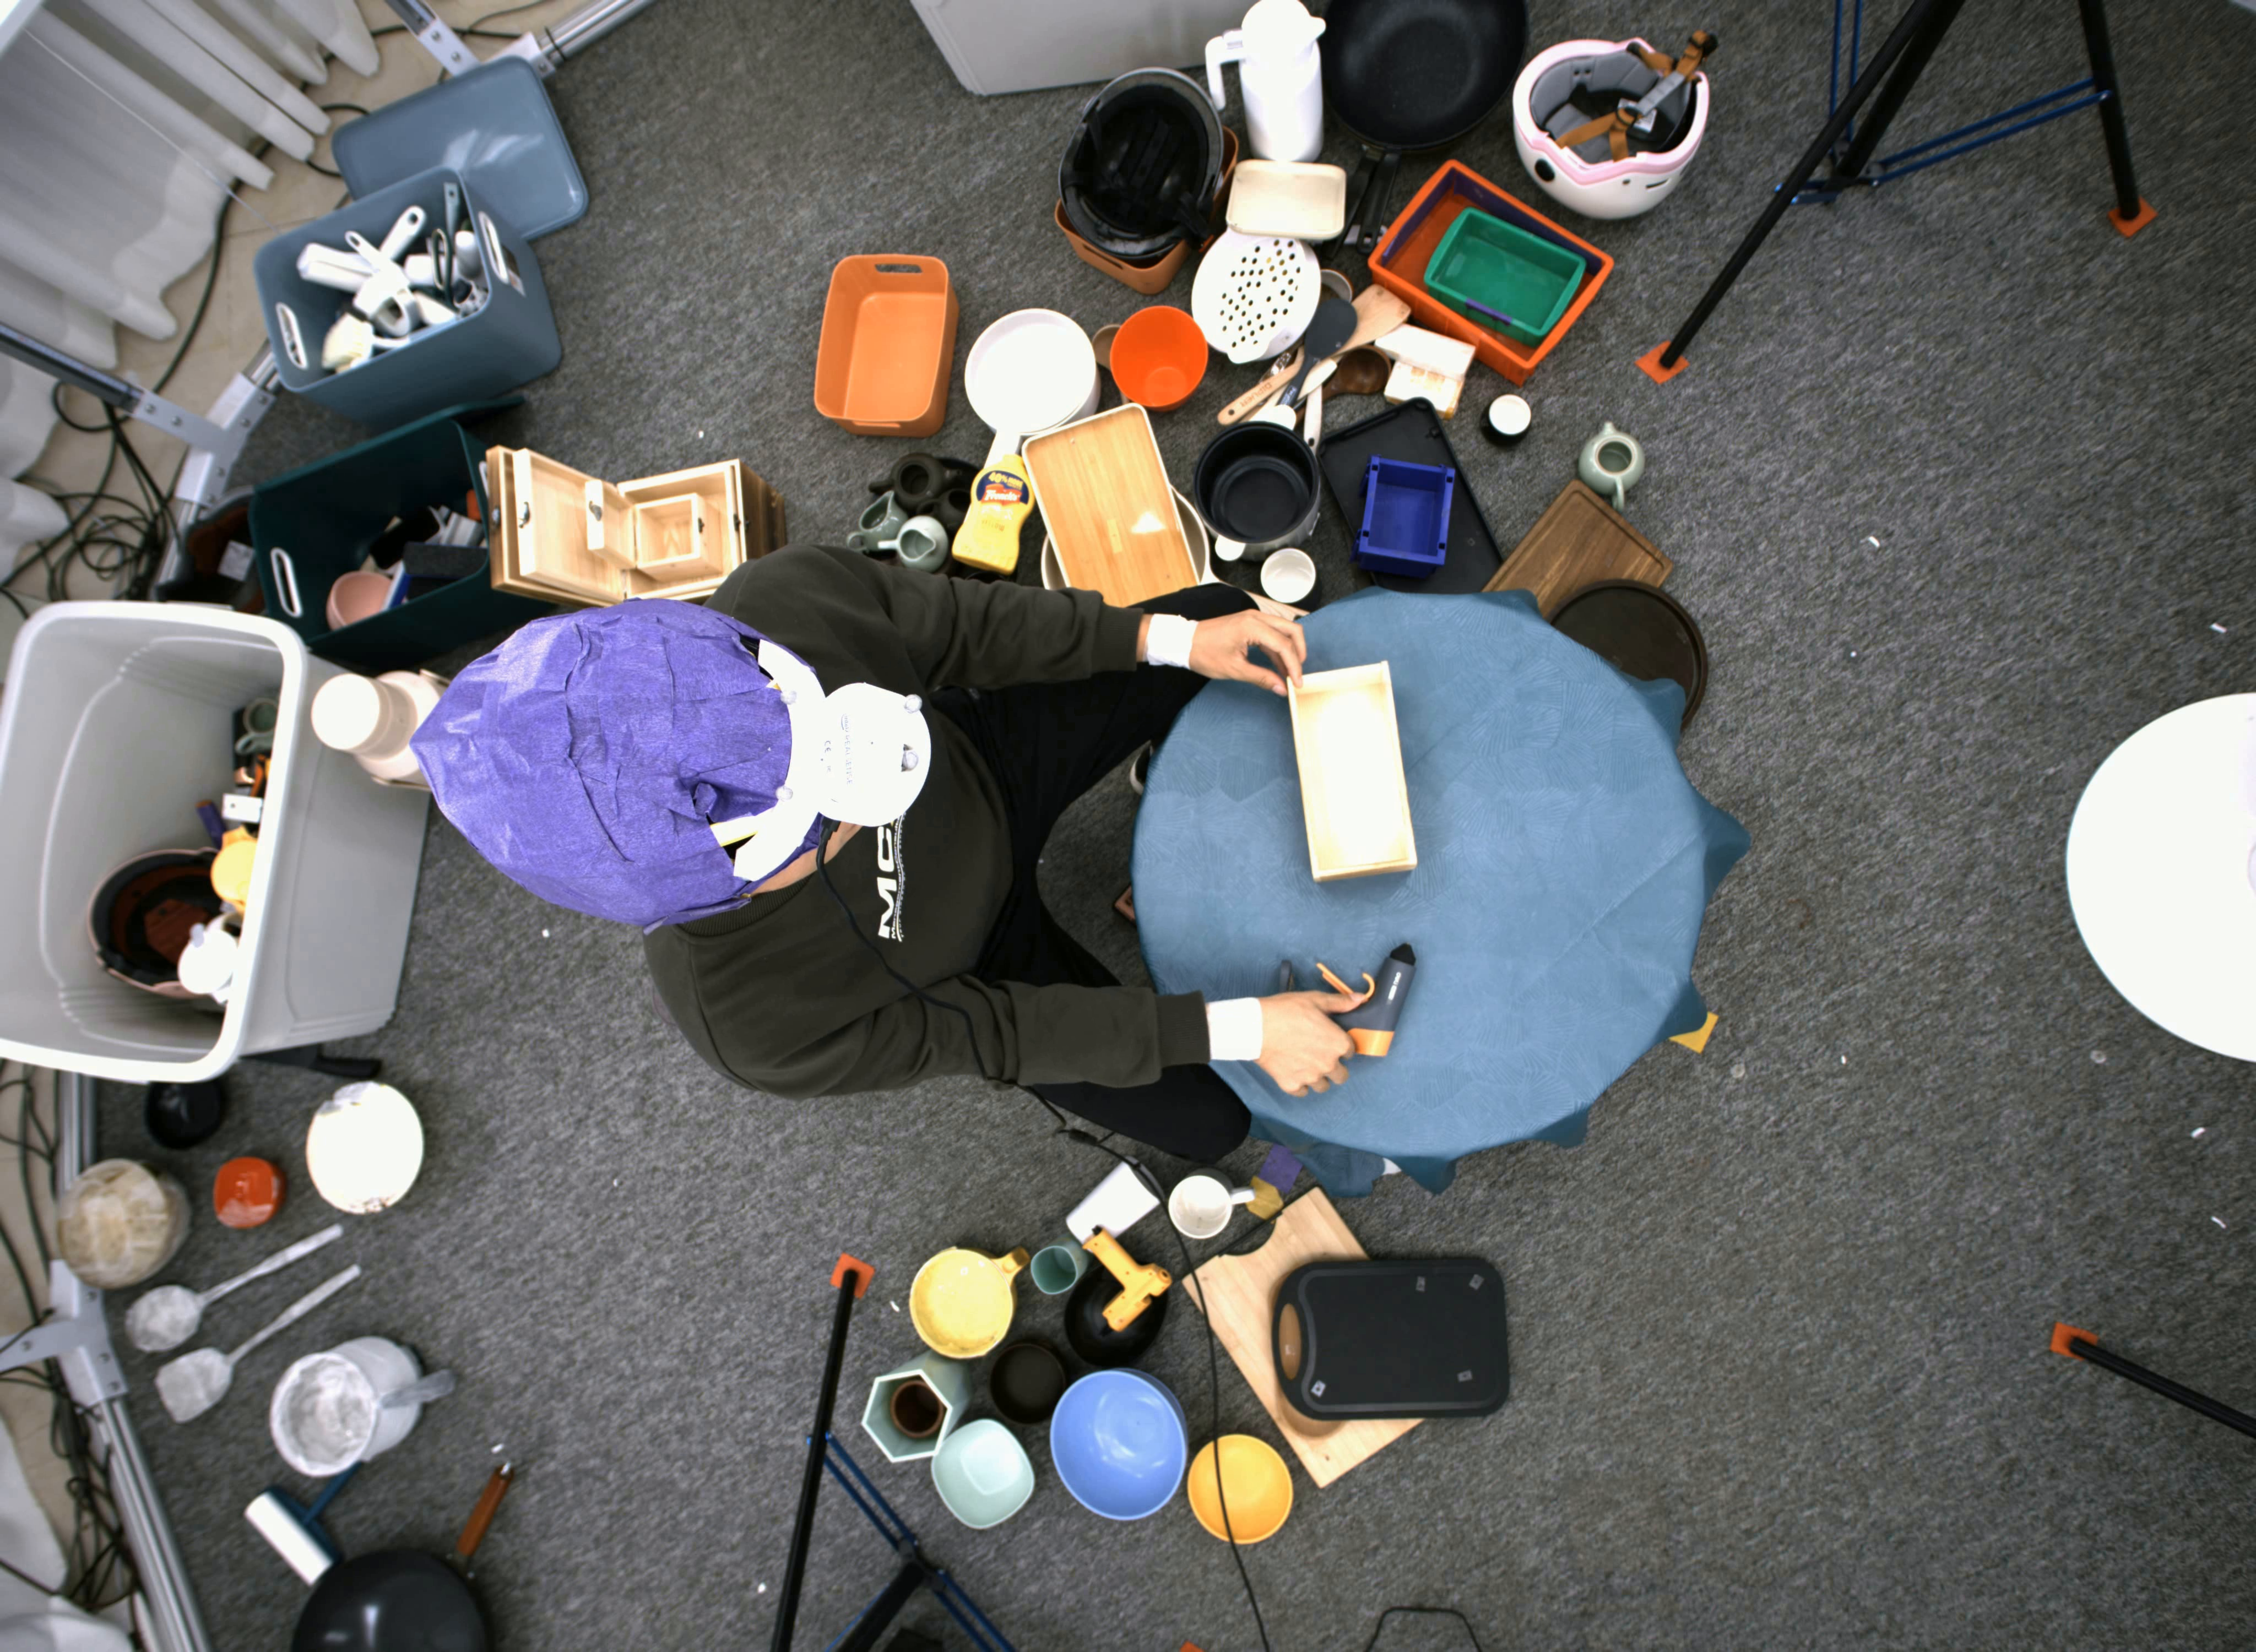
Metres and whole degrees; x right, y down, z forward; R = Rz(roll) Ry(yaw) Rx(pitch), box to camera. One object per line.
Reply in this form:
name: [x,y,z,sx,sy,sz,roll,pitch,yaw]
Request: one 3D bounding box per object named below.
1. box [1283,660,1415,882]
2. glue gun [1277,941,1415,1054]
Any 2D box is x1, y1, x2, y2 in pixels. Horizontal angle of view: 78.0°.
box: [0.230,-0.056,1.434,0.108,0.080,0.210,-8,85,10]
glue gun: [0.228,0.175,1.445,0.140,0.041,0.117,2,82,8]
